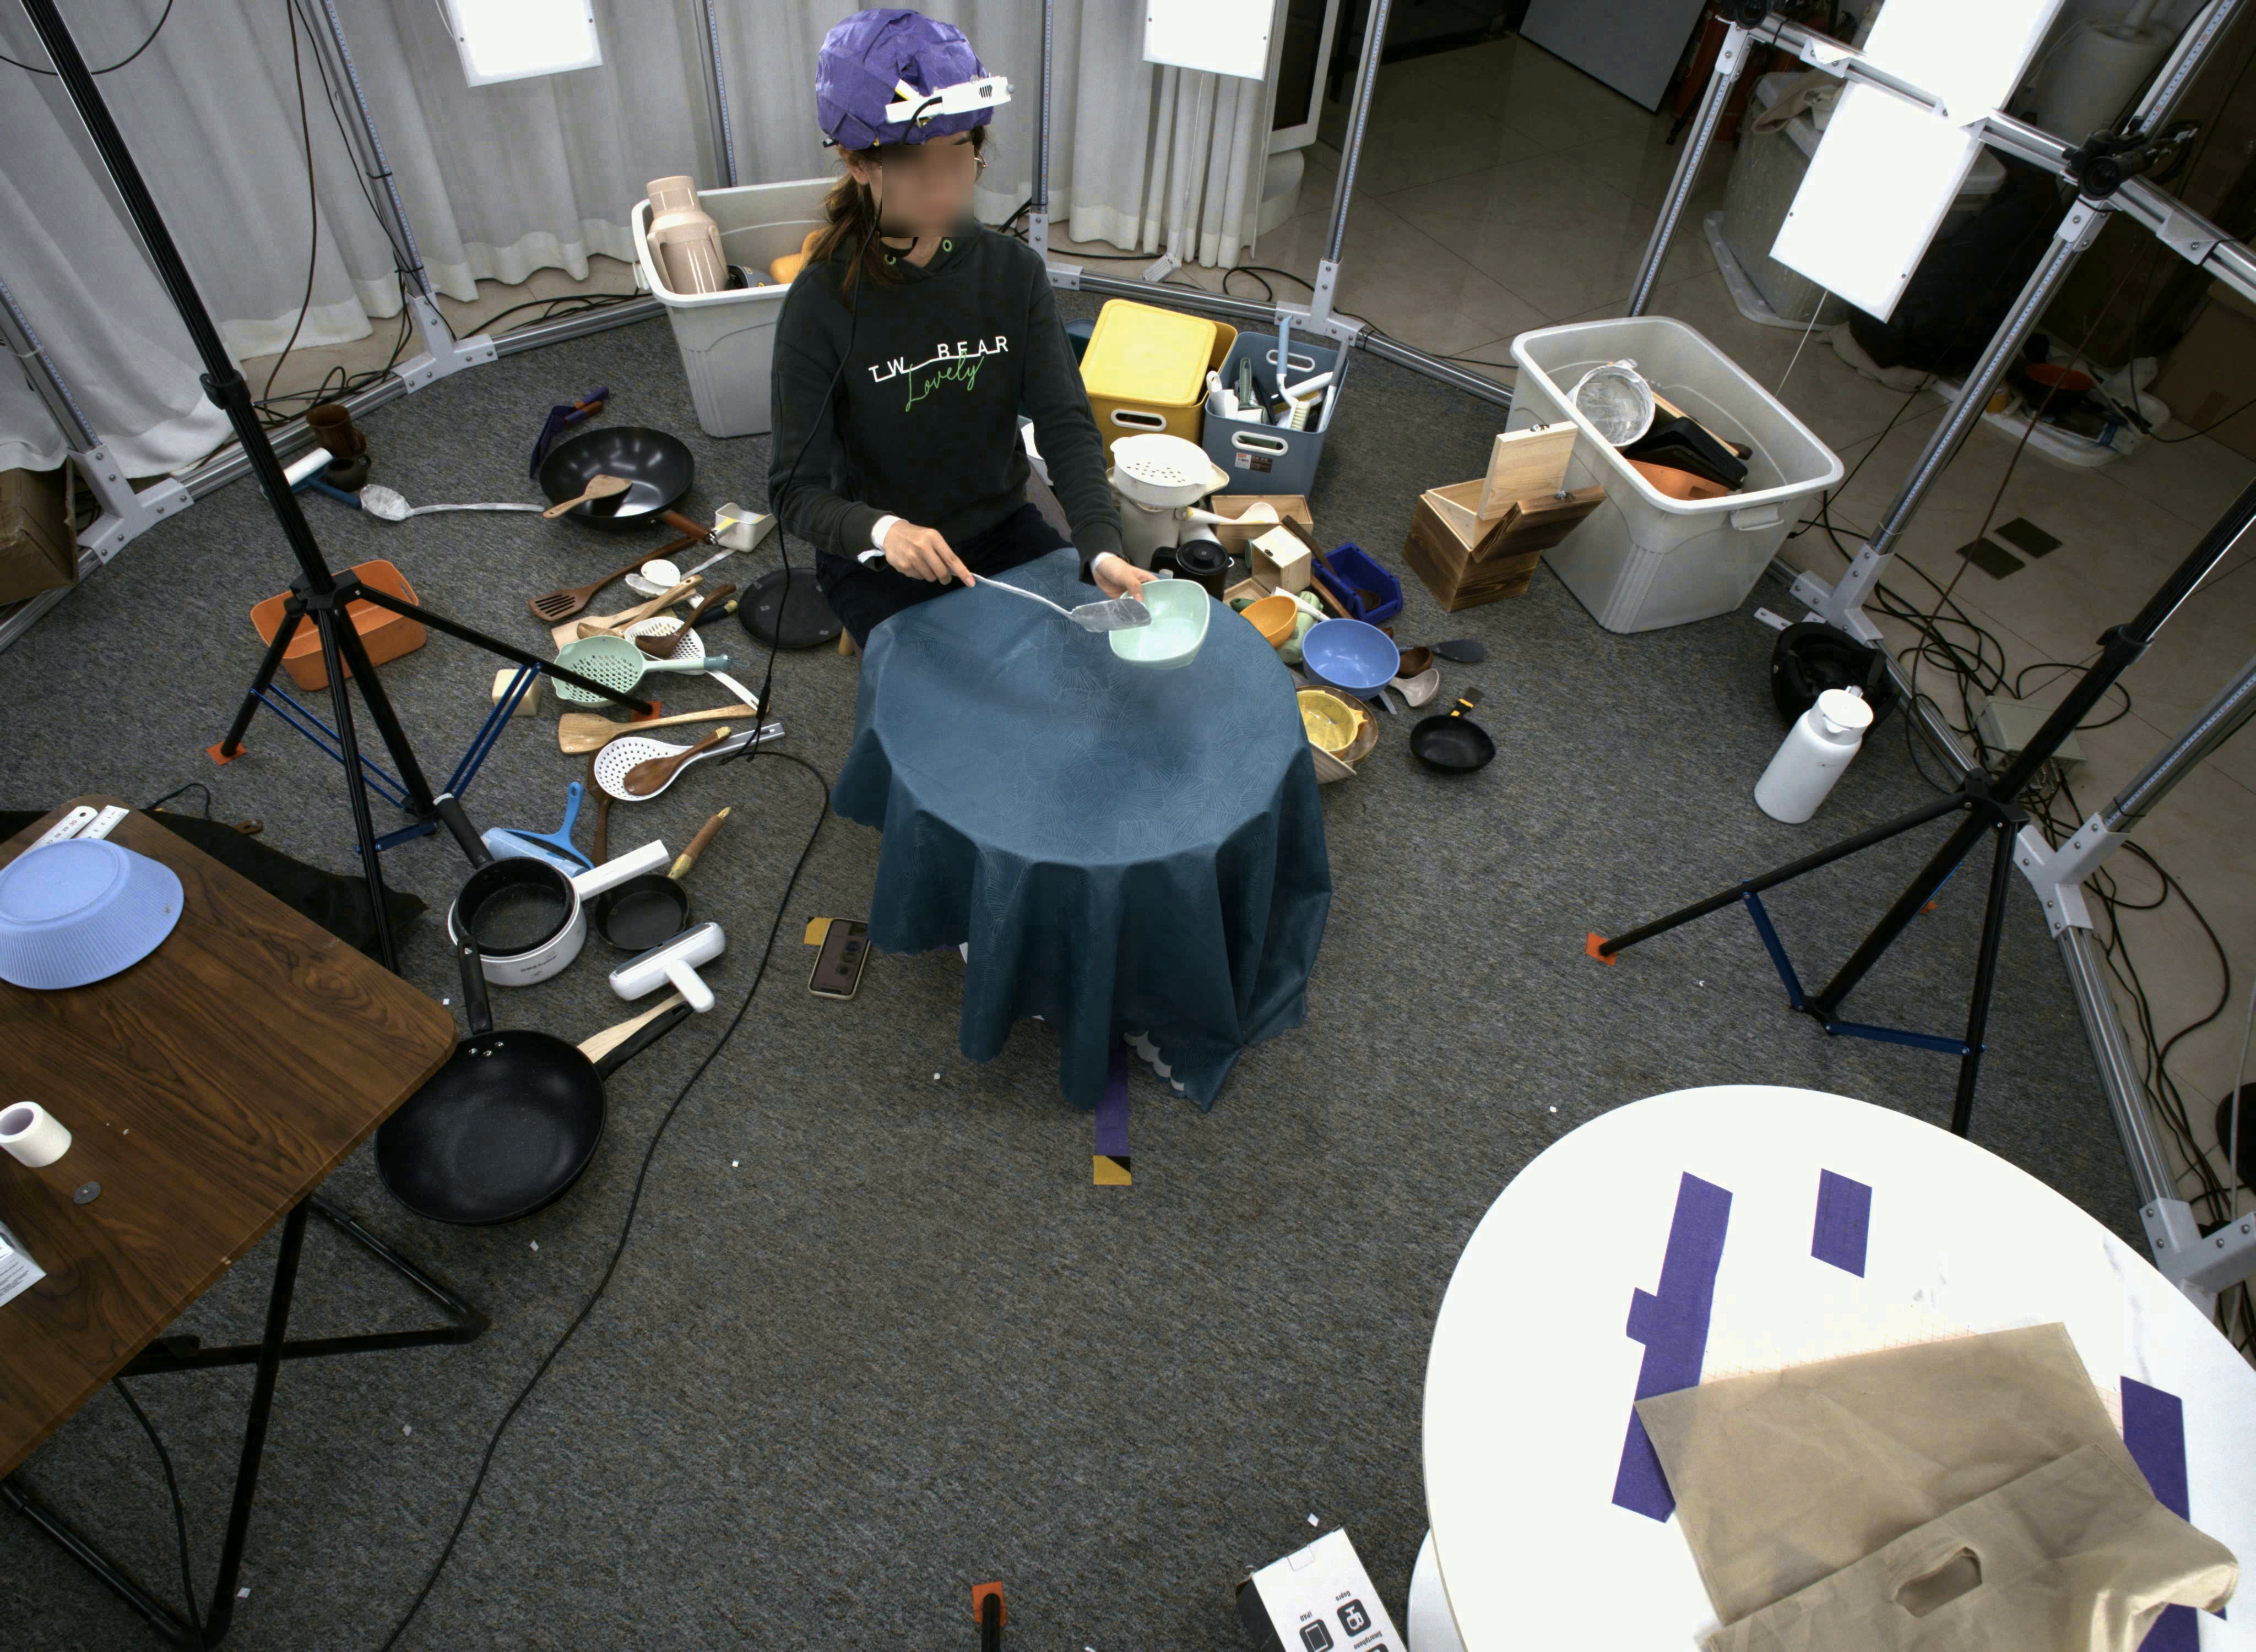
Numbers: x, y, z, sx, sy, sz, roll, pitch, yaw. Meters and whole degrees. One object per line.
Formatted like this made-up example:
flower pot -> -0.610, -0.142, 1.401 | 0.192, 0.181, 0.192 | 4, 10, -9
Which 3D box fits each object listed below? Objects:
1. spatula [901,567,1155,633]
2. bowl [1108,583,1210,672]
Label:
spatula -> -0.141, -0.310, 1.707 | 0.367, 0.097, 0.045 | 19, 83, 18
bowl -> 0.047, -0.262, 1.759 | 0.151, 0.057, 0.155 | -7, 56, 11
